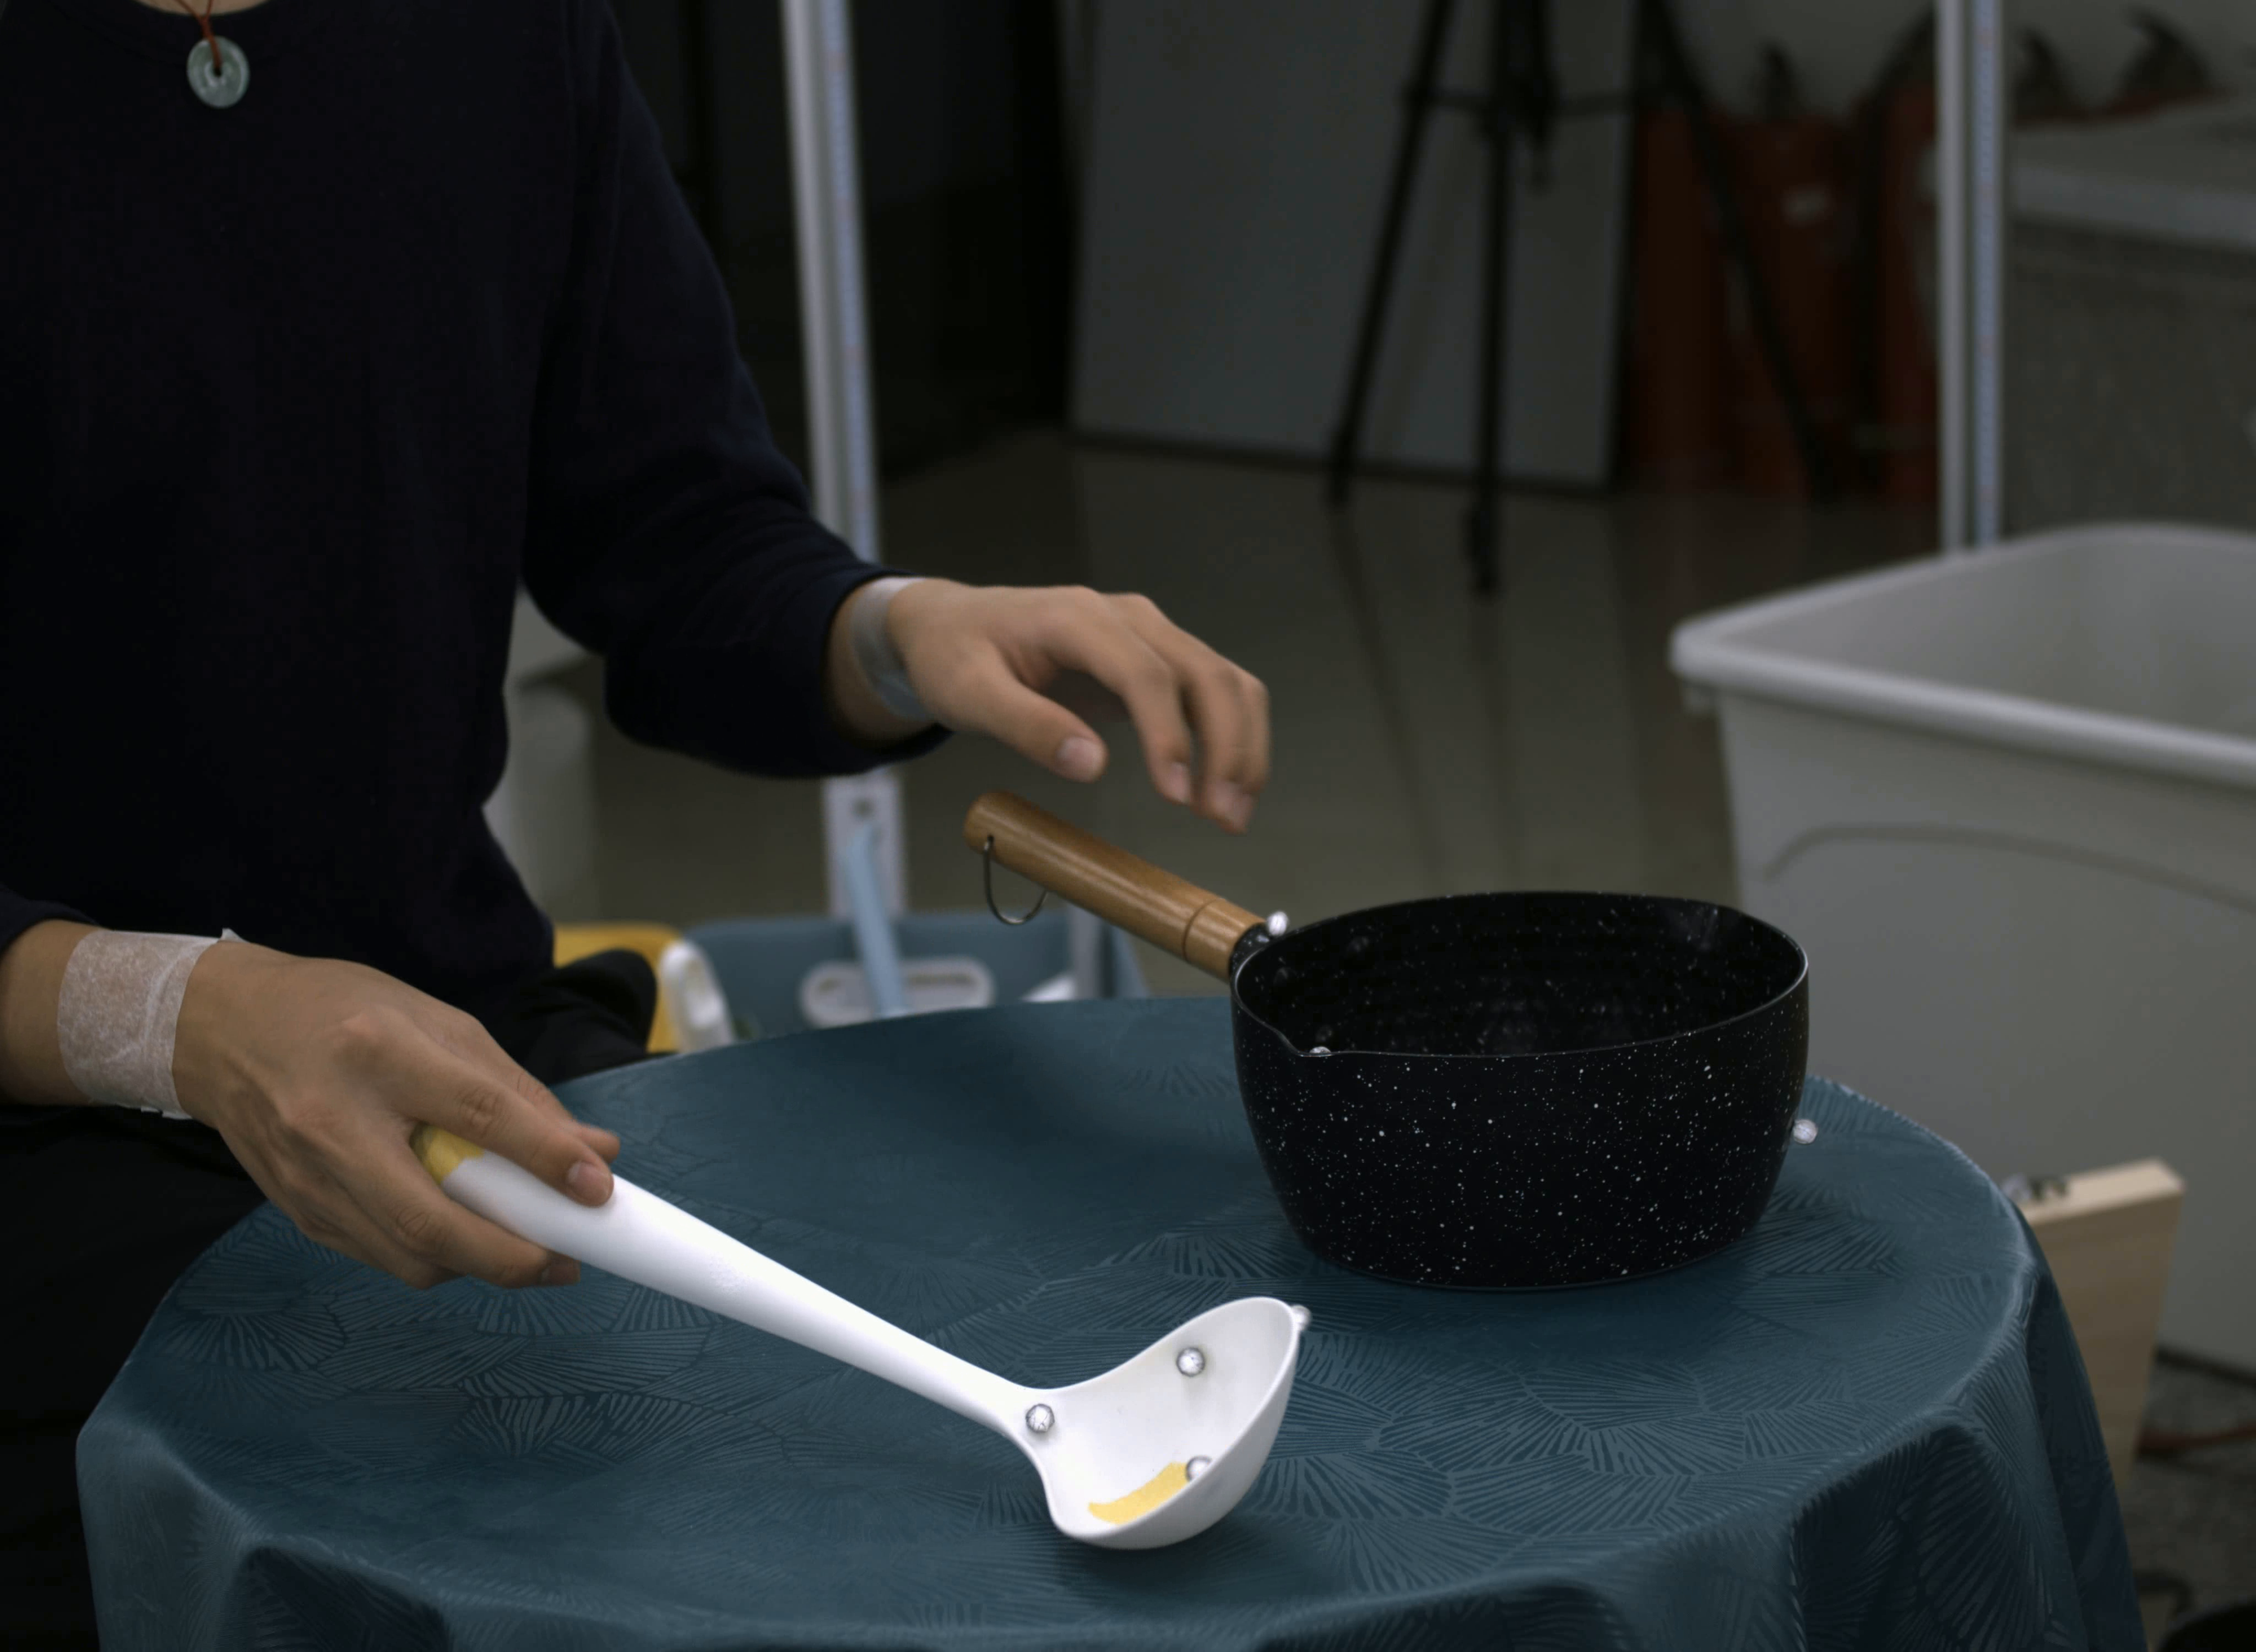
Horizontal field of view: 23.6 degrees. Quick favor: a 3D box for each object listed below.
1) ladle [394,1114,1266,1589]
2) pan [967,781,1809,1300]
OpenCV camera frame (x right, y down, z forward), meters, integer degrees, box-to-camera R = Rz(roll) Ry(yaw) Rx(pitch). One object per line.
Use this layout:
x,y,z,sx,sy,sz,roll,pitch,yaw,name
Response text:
-0.089,0.135,1.511,0.294,0.069,0.090,21,65,27,ladle
0.069,0.063,1.760,0.203,0.109,0.346,-18,21,-42,pan
